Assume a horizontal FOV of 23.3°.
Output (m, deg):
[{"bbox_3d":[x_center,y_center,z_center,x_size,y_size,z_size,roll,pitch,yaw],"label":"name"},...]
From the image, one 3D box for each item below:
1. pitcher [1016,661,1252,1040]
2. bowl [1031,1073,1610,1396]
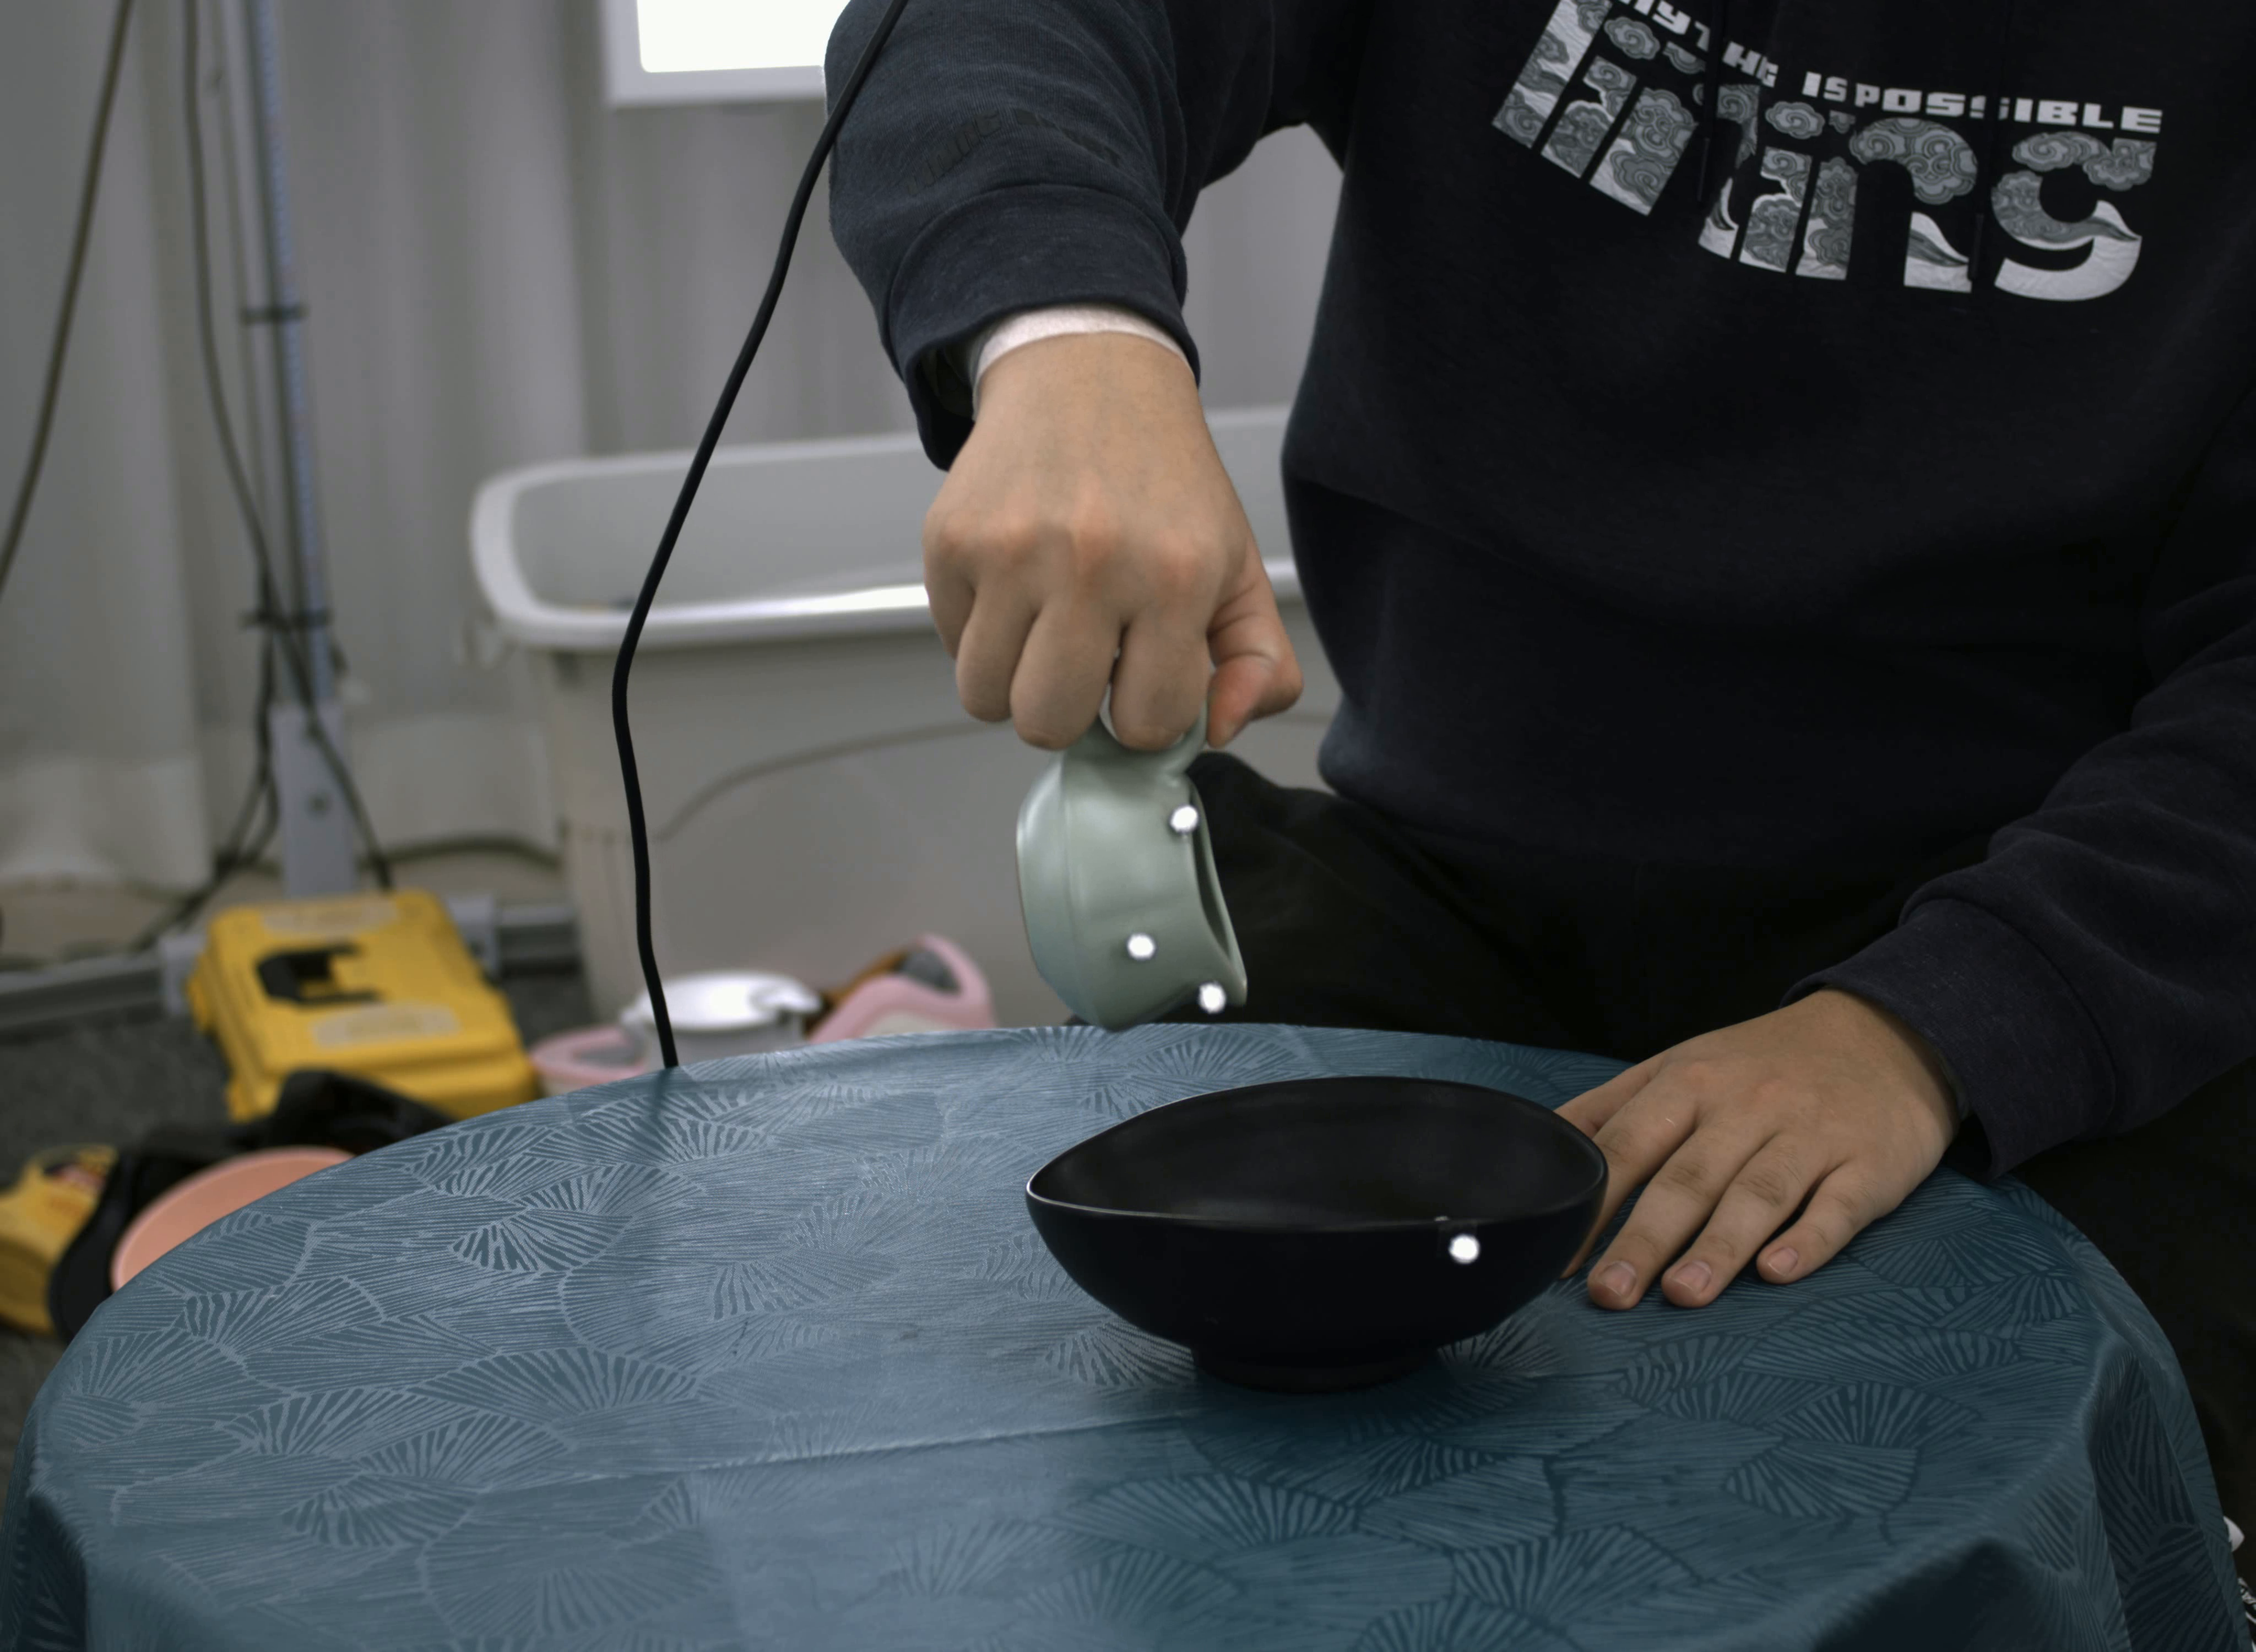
[{"bbox_3d":[-0.001,0.006,1.542,0.060,0.107,0.087,-9,20,8],"label":"pitcher"},{"bbox_3d":[0.054,0.122,1.561,0.170,0.066,0.138,1,14,17],"label":"bowl"}]
